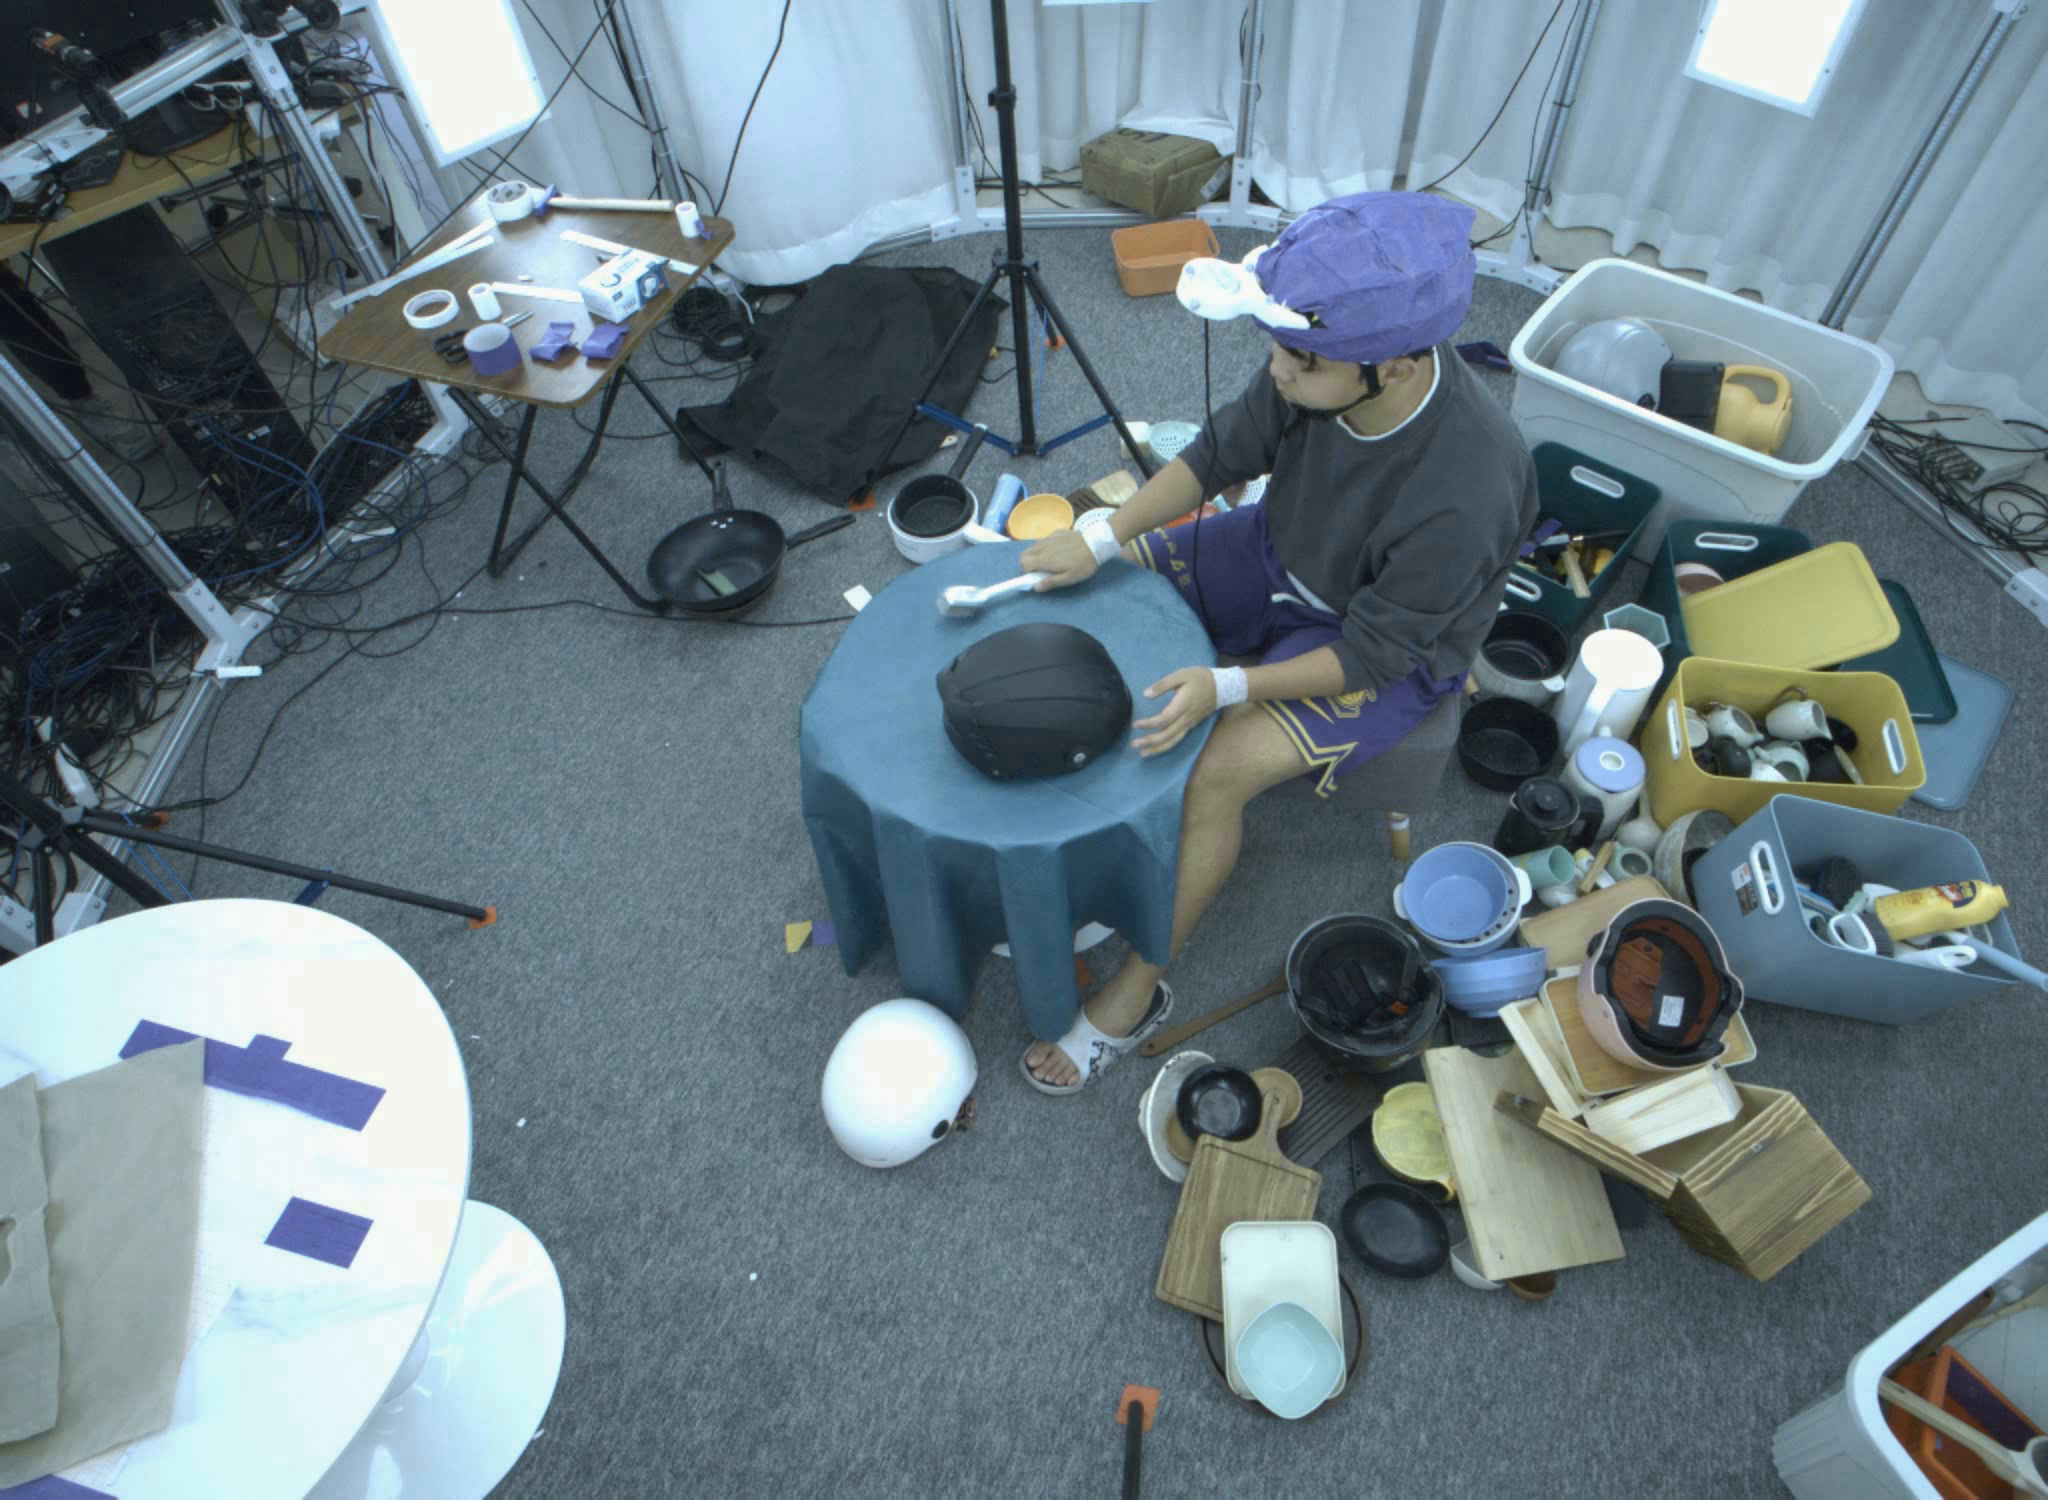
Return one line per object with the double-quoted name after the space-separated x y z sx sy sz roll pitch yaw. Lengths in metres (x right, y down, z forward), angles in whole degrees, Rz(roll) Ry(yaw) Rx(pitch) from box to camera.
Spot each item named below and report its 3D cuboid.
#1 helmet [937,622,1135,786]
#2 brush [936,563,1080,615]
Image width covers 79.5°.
0.016 -0.086 1.752 0.278 0.174 0.242 -15 55 -6 "helmet"
-0.023 -0.256 1.959 0.247 0.050 0.034 -14 56 -24 "brush"
